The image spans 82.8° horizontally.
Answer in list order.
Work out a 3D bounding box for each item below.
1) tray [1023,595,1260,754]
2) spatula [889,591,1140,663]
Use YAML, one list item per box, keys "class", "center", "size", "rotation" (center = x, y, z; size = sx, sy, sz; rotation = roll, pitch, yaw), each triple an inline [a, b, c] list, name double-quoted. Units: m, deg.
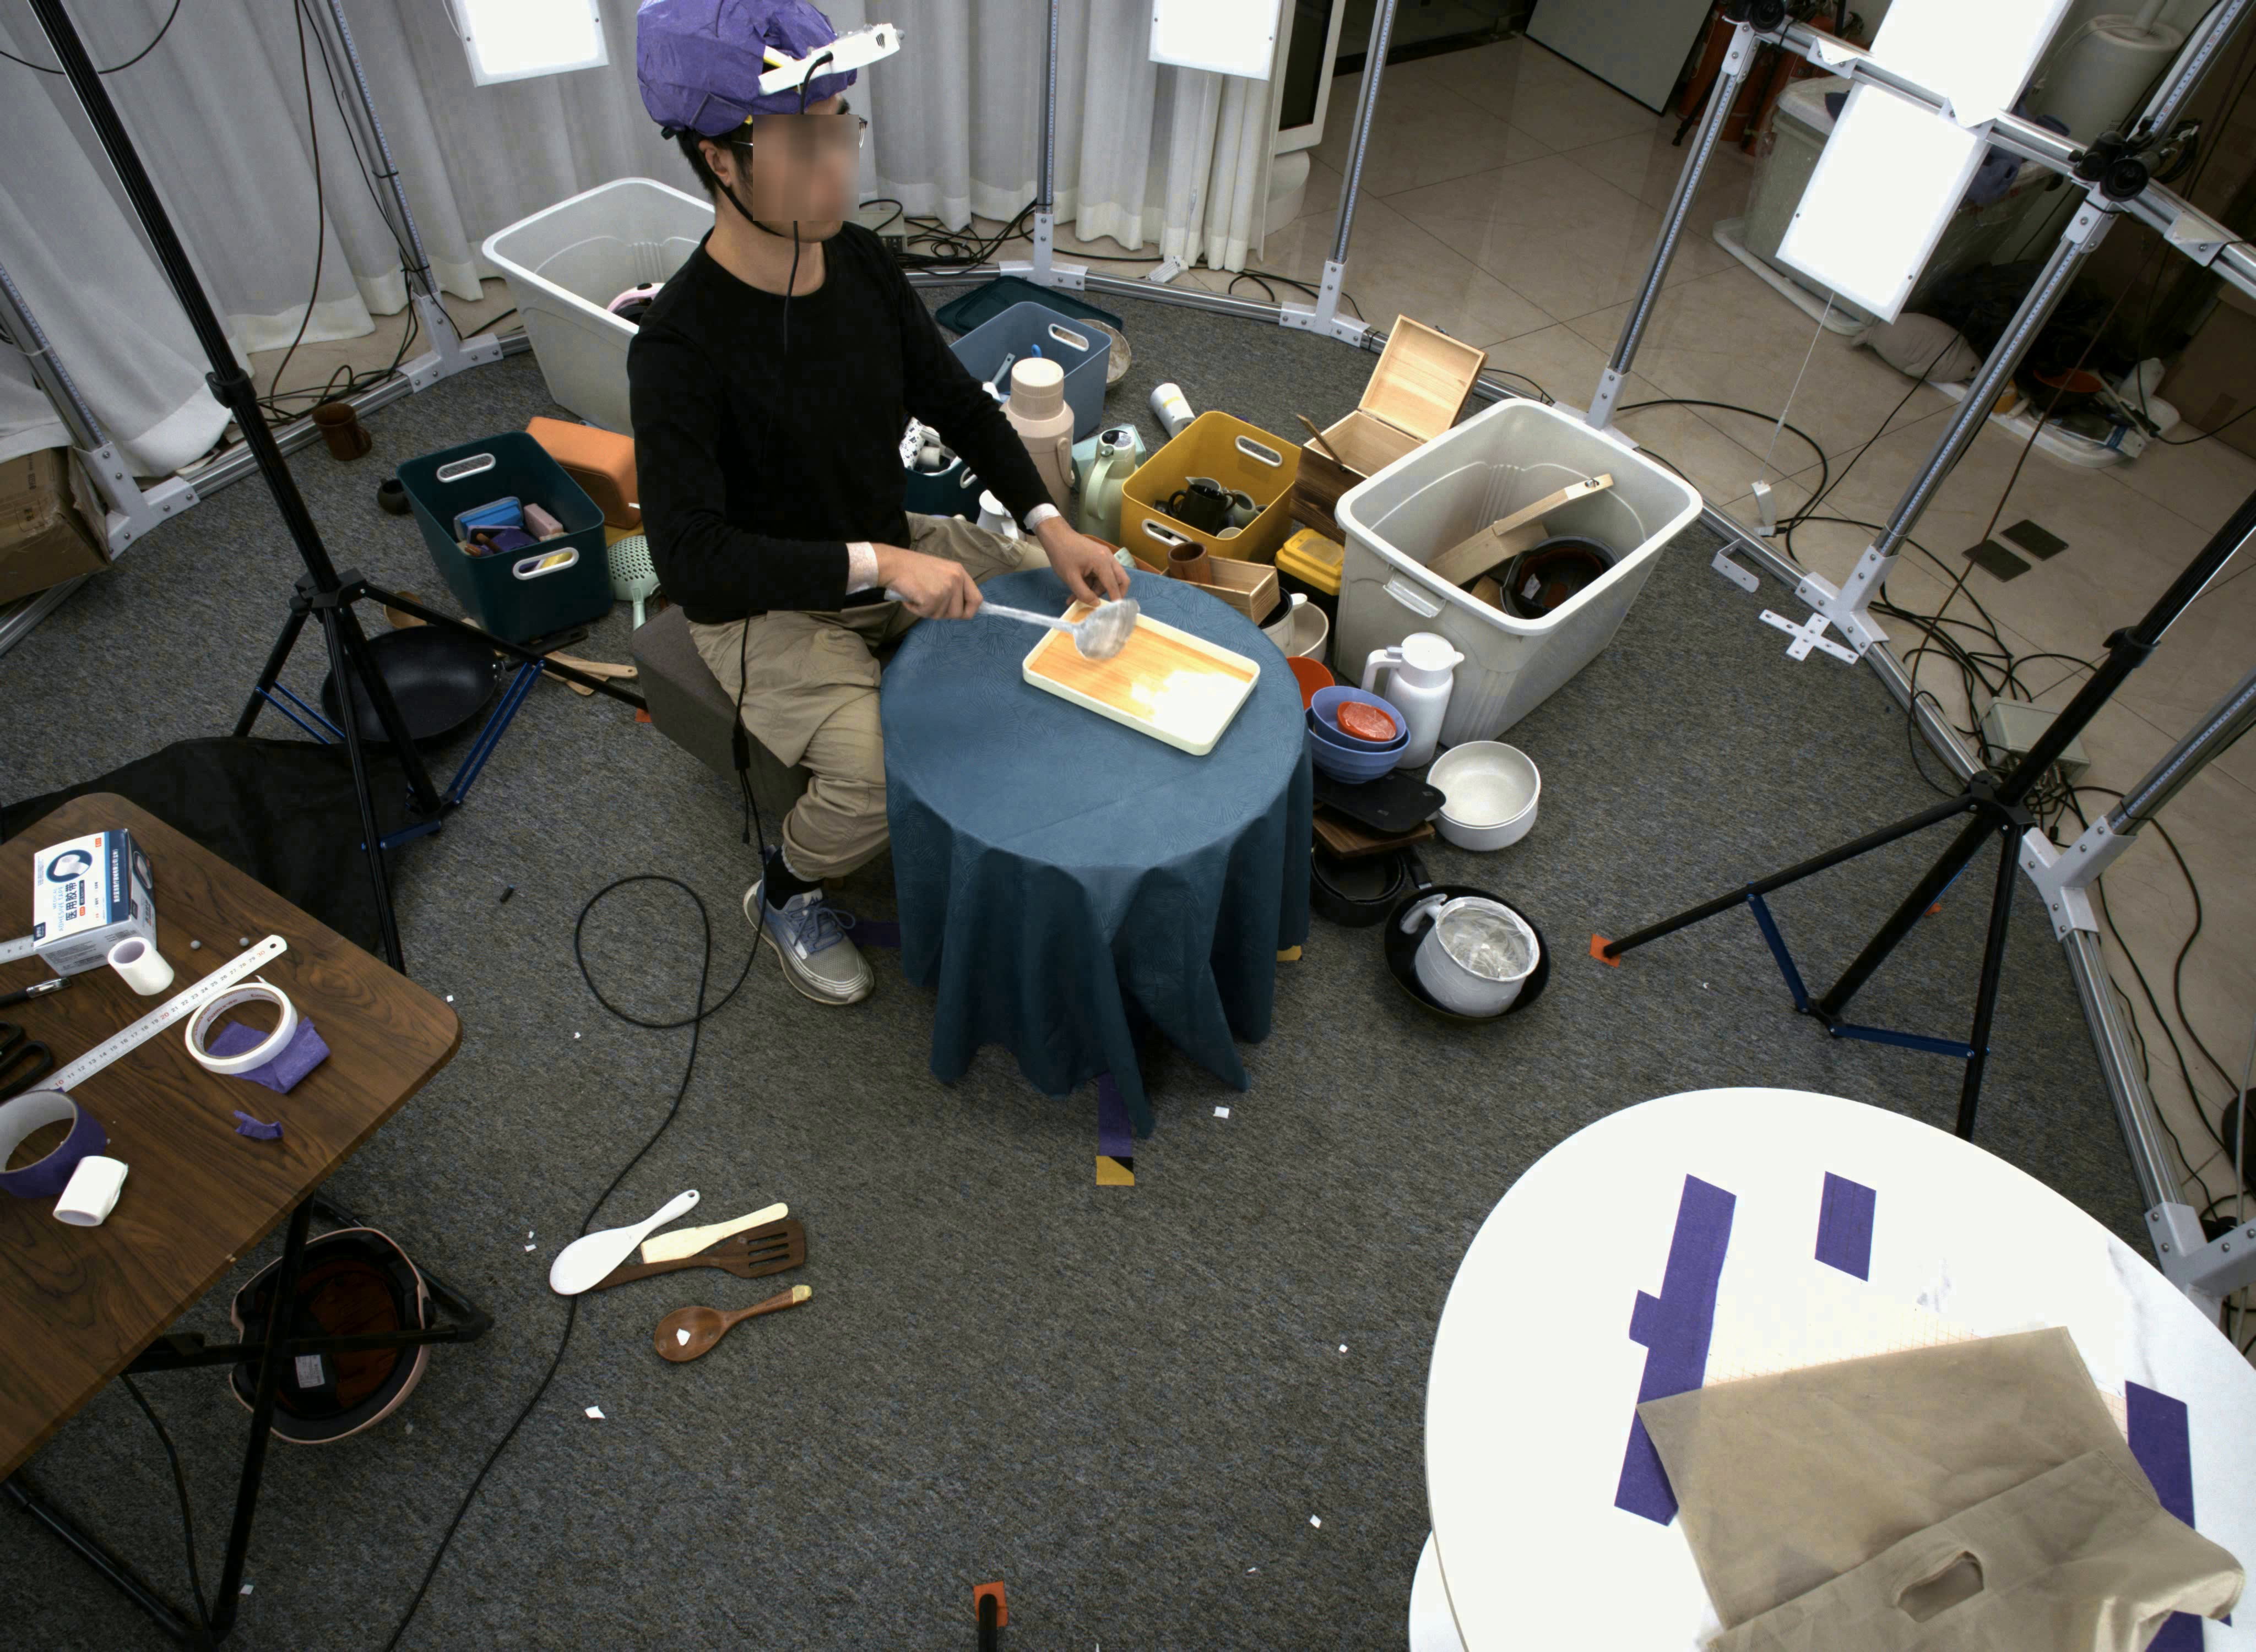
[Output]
- class: "tray"
  center: [0.019, -0.222, 1.845]
  size: [0.302, 0.027, 0.195]
  rotation: [25, 53, 17]
- class: "spatula"
  center: [-0.146, -0.284, 1.744]
  size: [0.362, 0.097, 0.046]
  rotation: [7, 32, -25]
